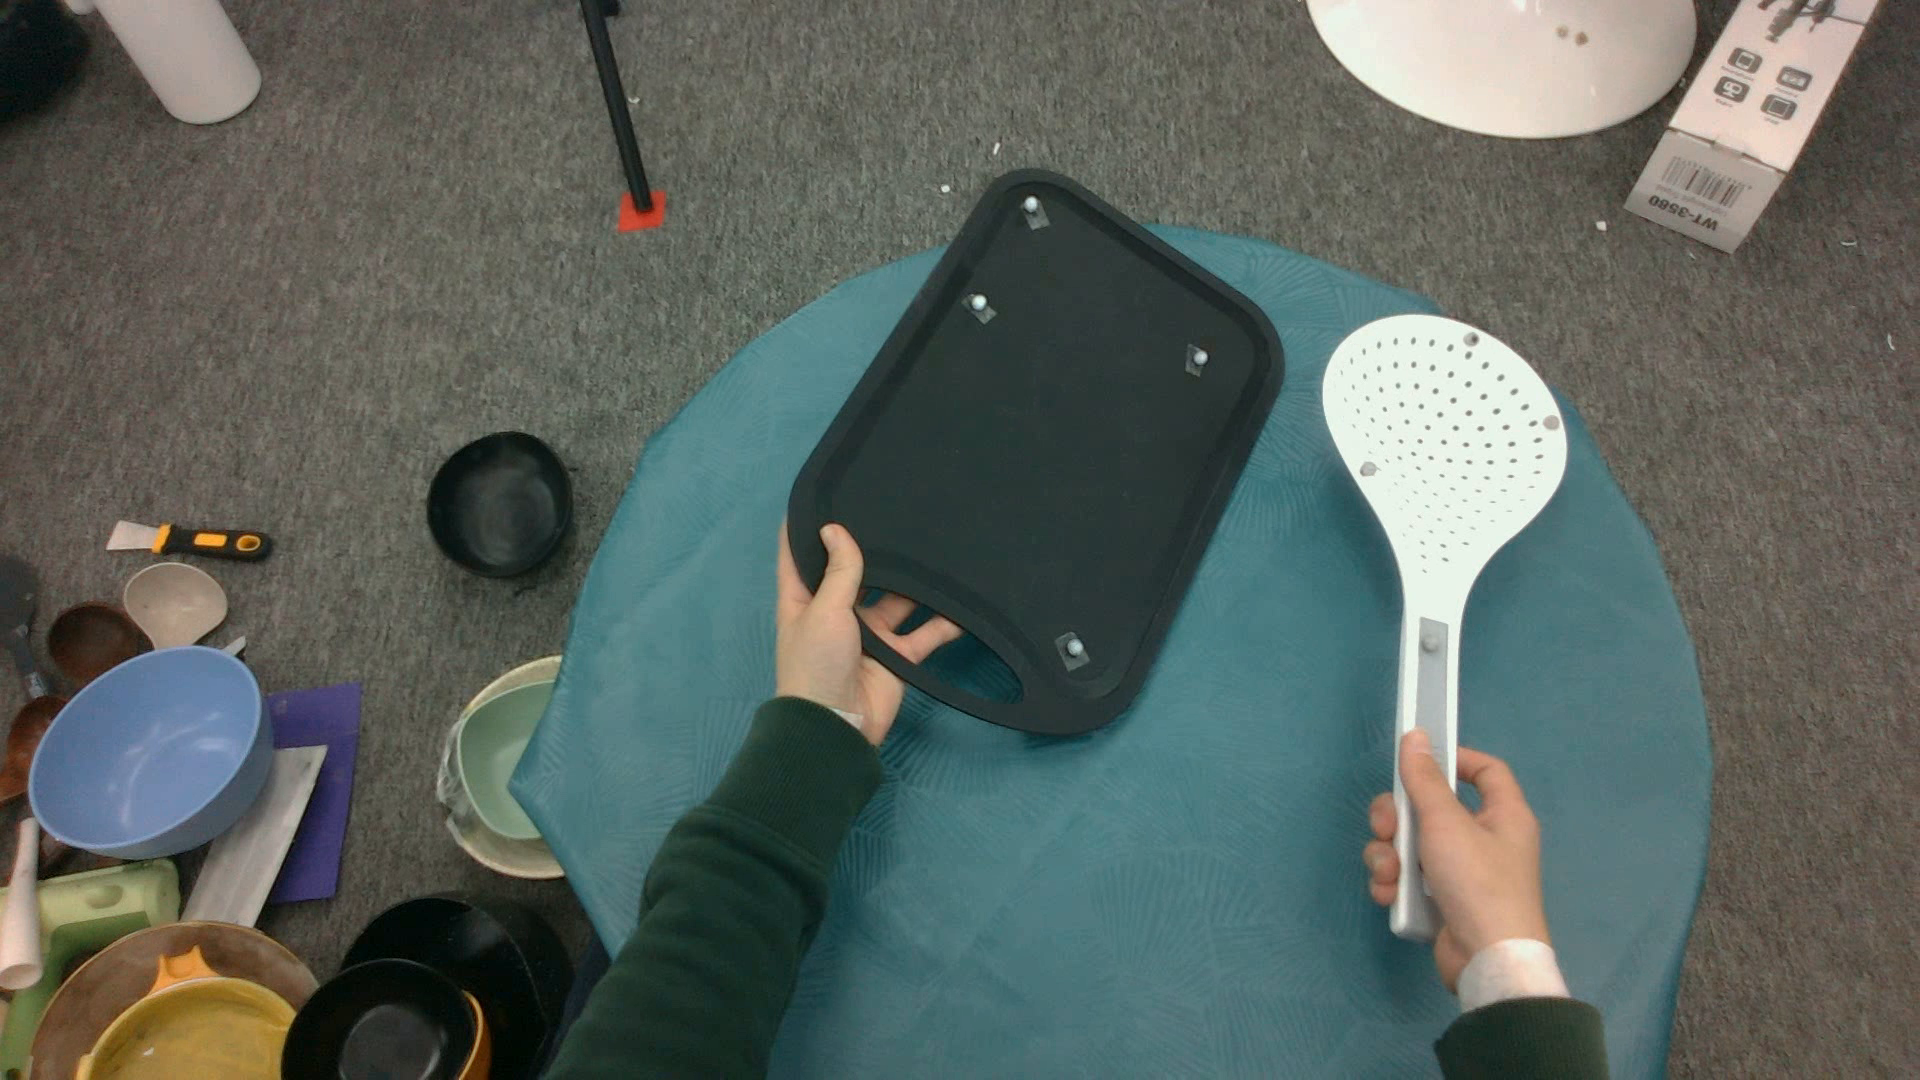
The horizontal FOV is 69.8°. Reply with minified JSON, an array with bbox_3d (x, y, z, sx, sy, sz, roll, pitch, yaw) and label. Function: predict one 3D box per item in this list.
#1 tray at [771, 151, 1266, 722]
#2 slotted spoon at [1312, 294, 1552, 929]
[{"bbox_3d":[0.042,-0.062,0.743,0.211,0.010,0.327,33,62,-7],"label":"tray"},{"bbox_3d":[0.234,0.020,0.693,0.136,0.045,0.351,14,56,-4],"label":"slotted spoon"}]
